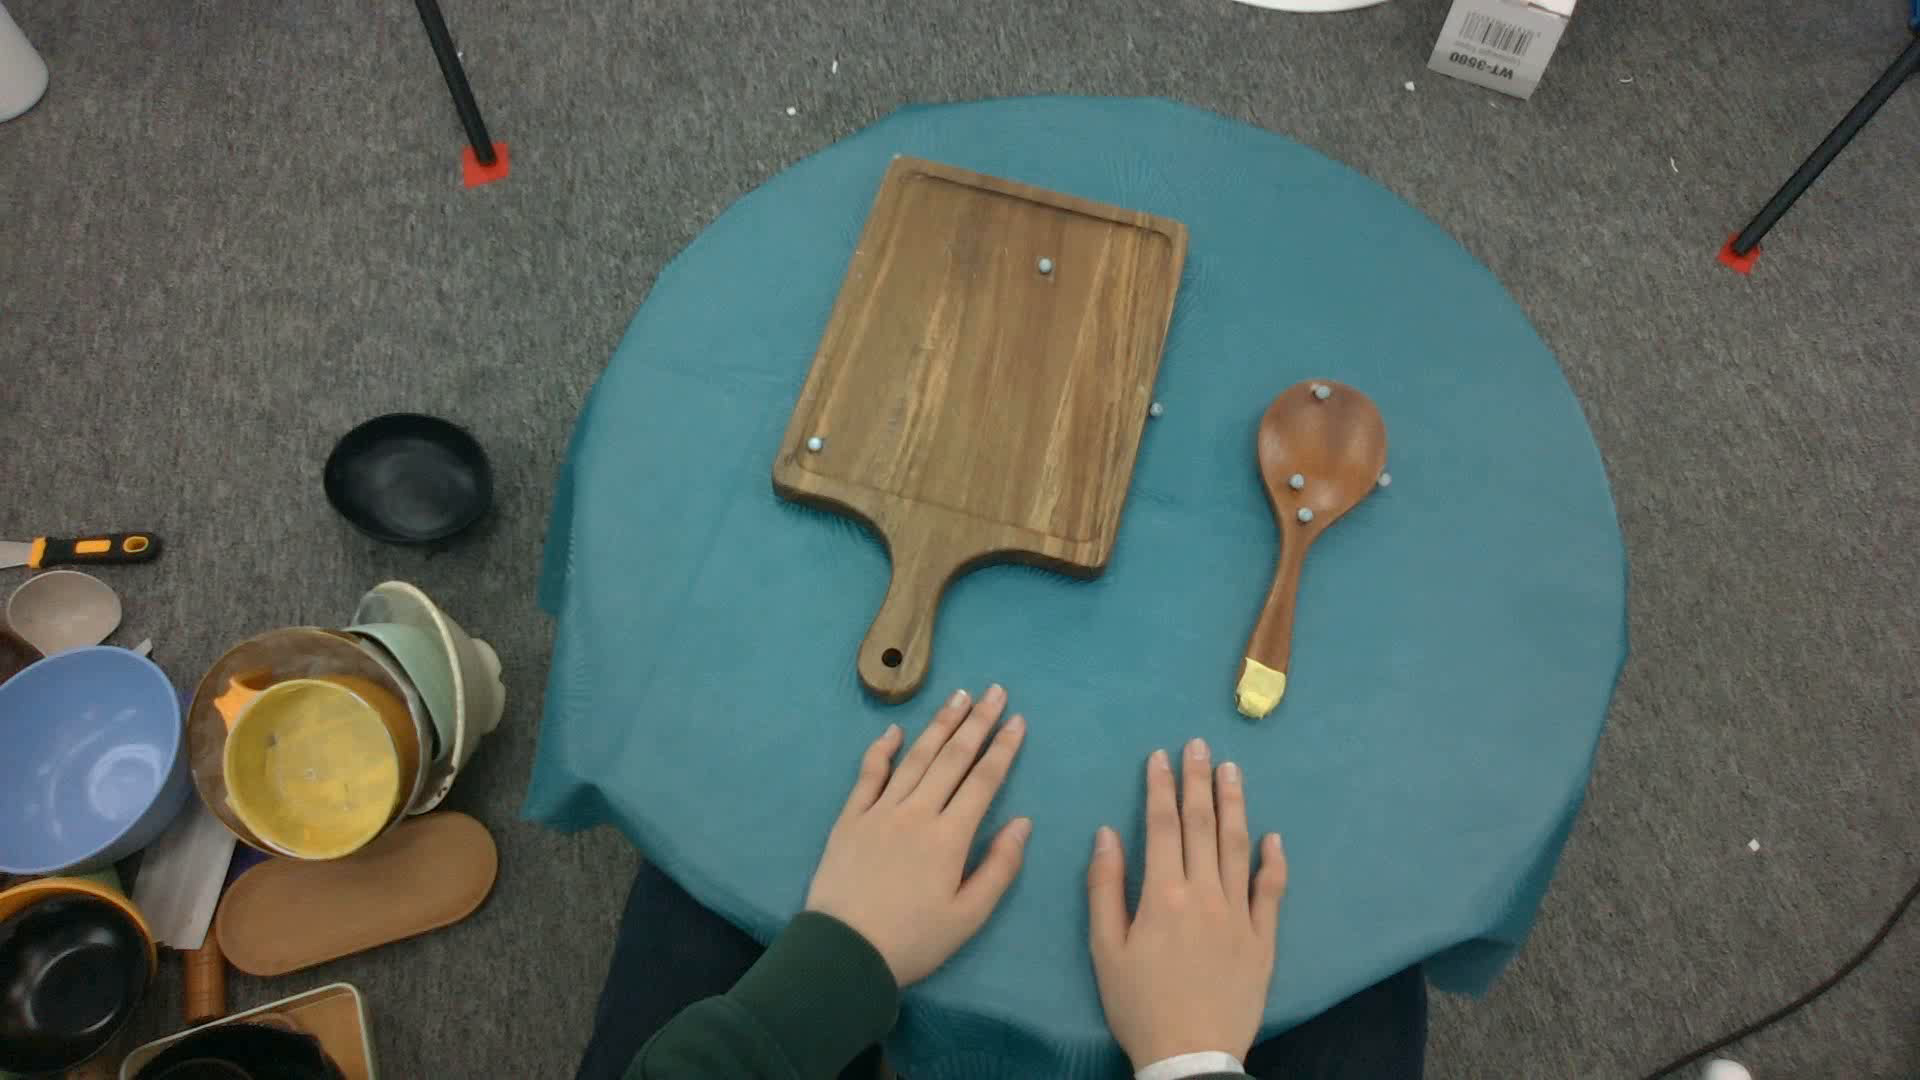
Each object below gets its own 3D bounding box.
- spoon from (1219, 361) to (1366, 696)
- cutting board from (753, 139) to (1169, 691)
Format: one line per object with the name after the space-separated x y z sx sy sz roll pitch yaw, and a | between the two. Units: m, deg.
0.179 -0.010 0.774 0.075 0.017 0.217 18 63 3 | spoon
-0.005 -0.078 0.795 0.201 0.023 0.353 15 64 3 | cutting board
